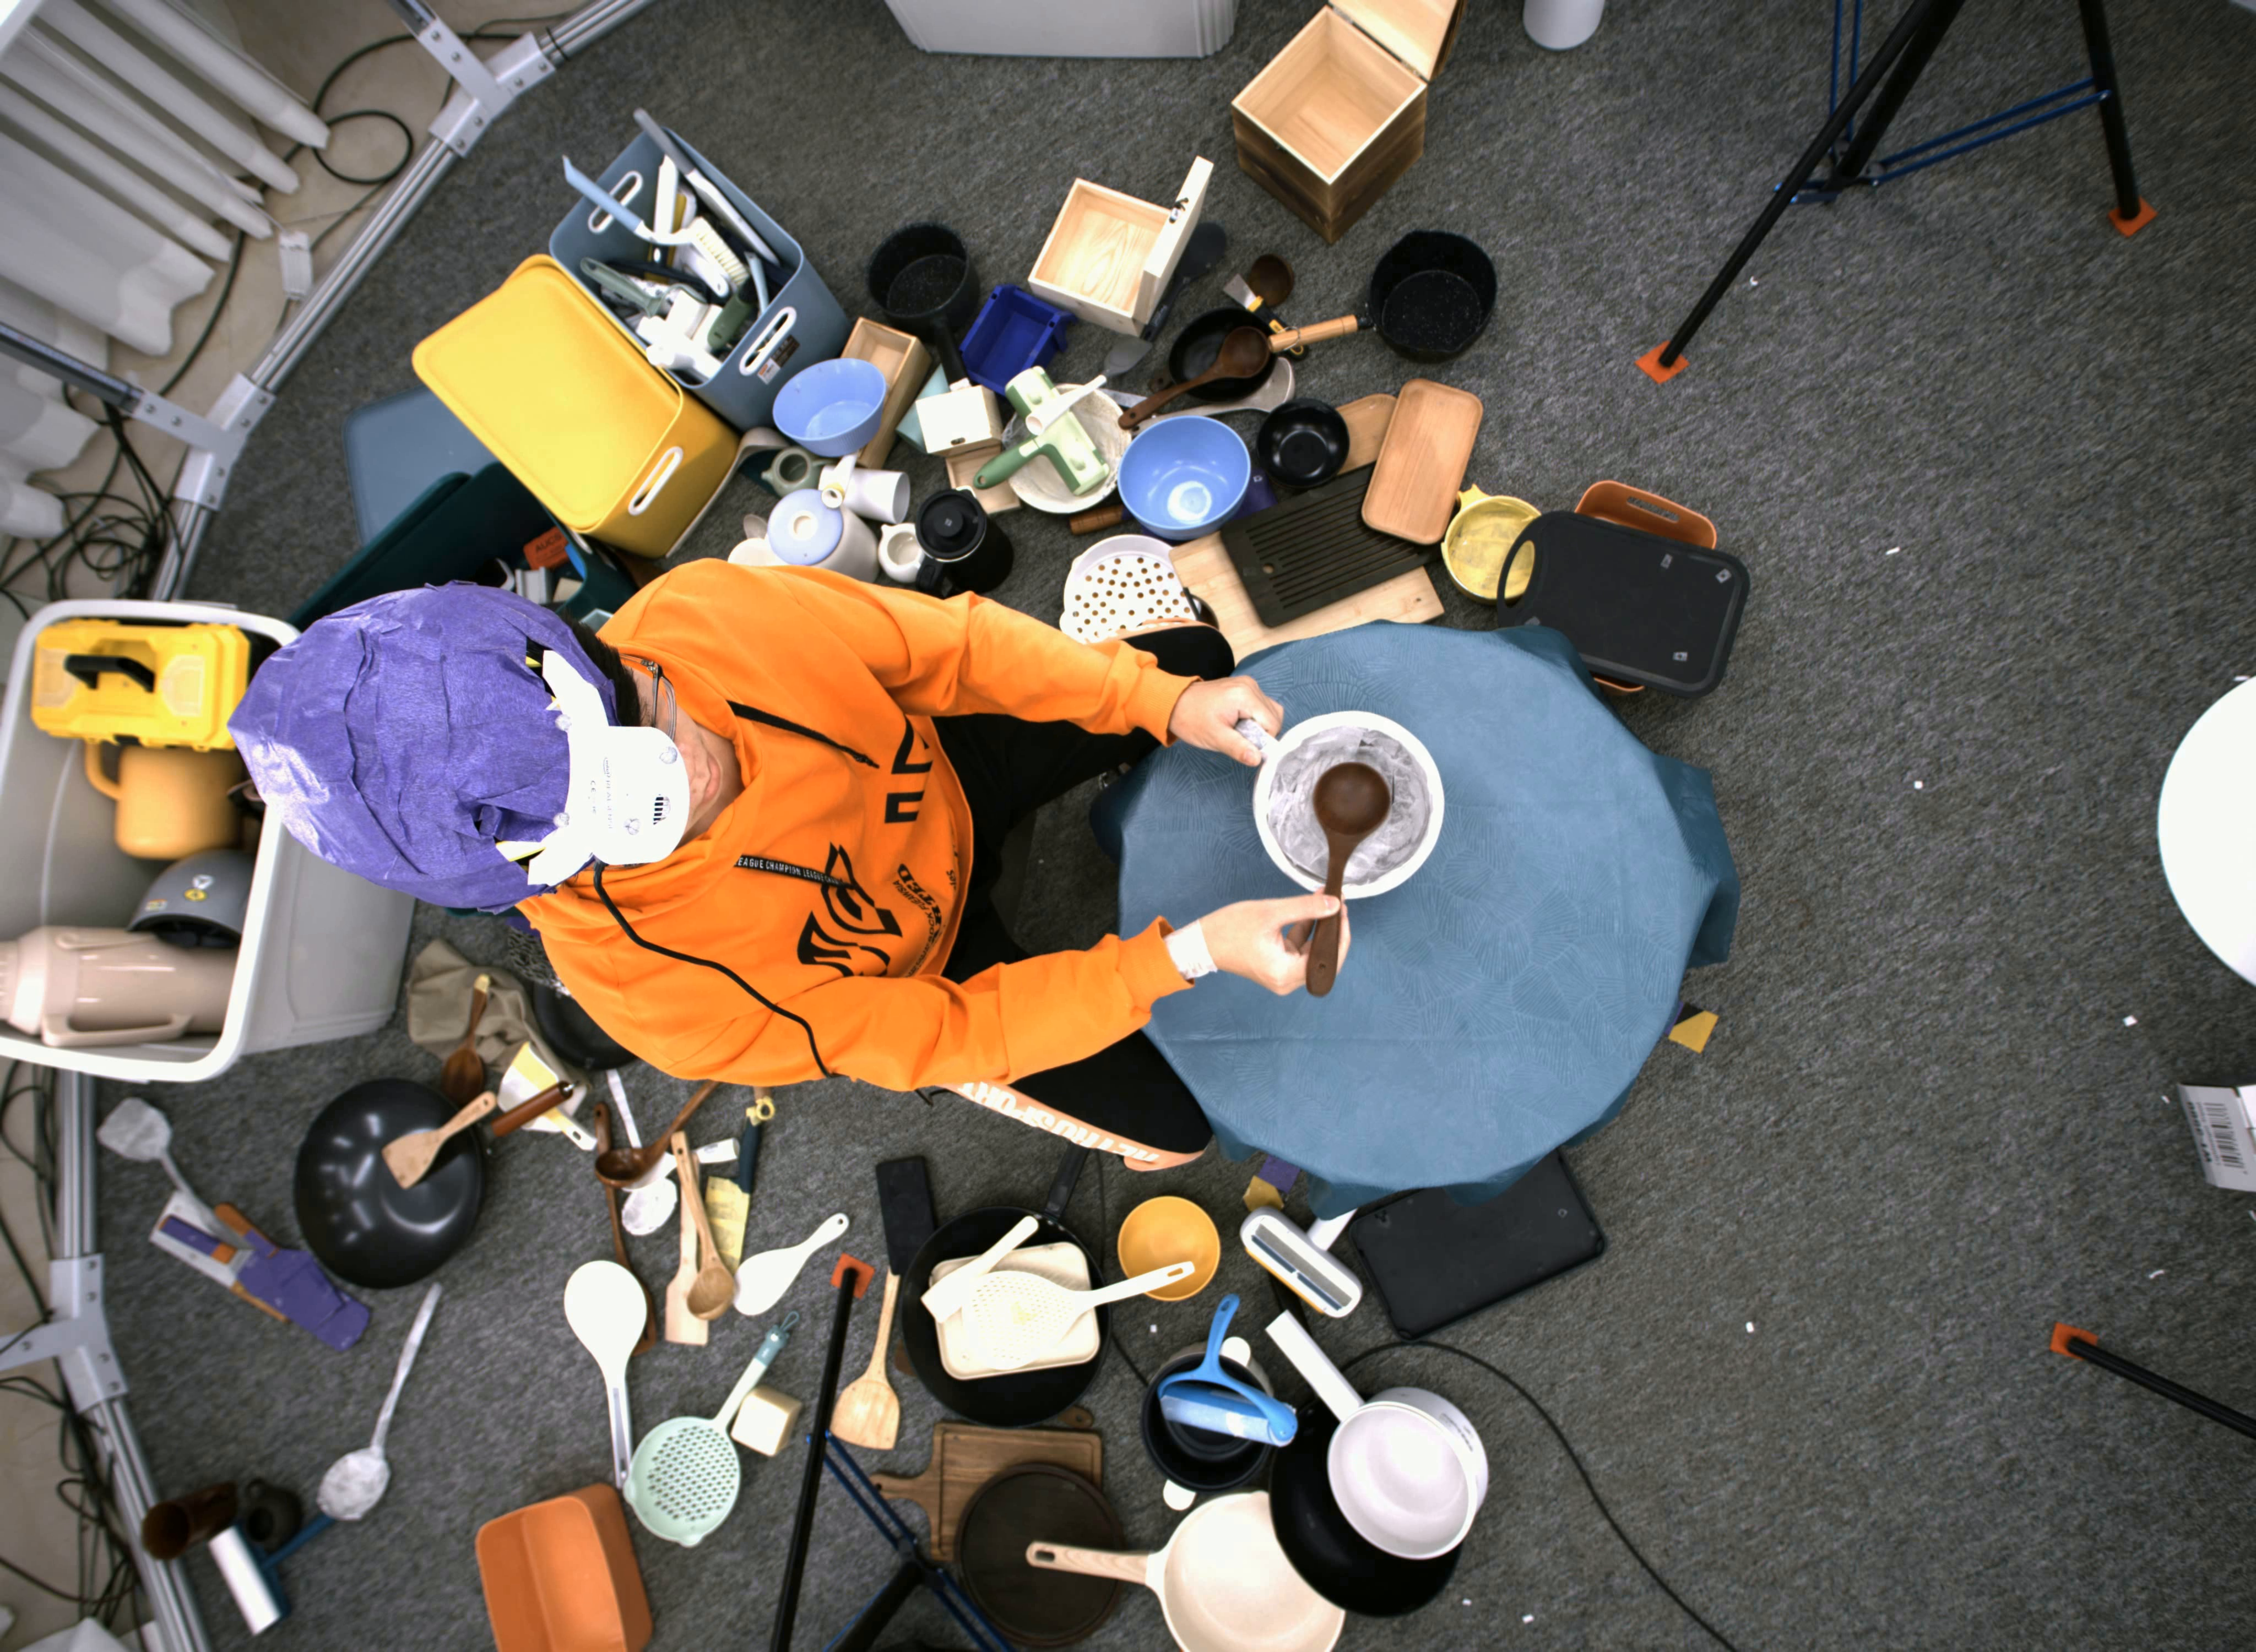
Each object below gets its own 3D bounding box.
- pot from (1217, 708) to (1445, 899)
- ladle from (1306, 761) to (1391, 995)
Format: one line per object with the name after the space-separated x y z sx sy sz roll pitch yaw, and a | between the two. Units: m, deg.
0.189 -0.038 1.357 0.234 0.136 0.180 34 96 1 | pot
0.194 0.040 1.273 0.076 0.067 0.253 9 45 10 | ladle
